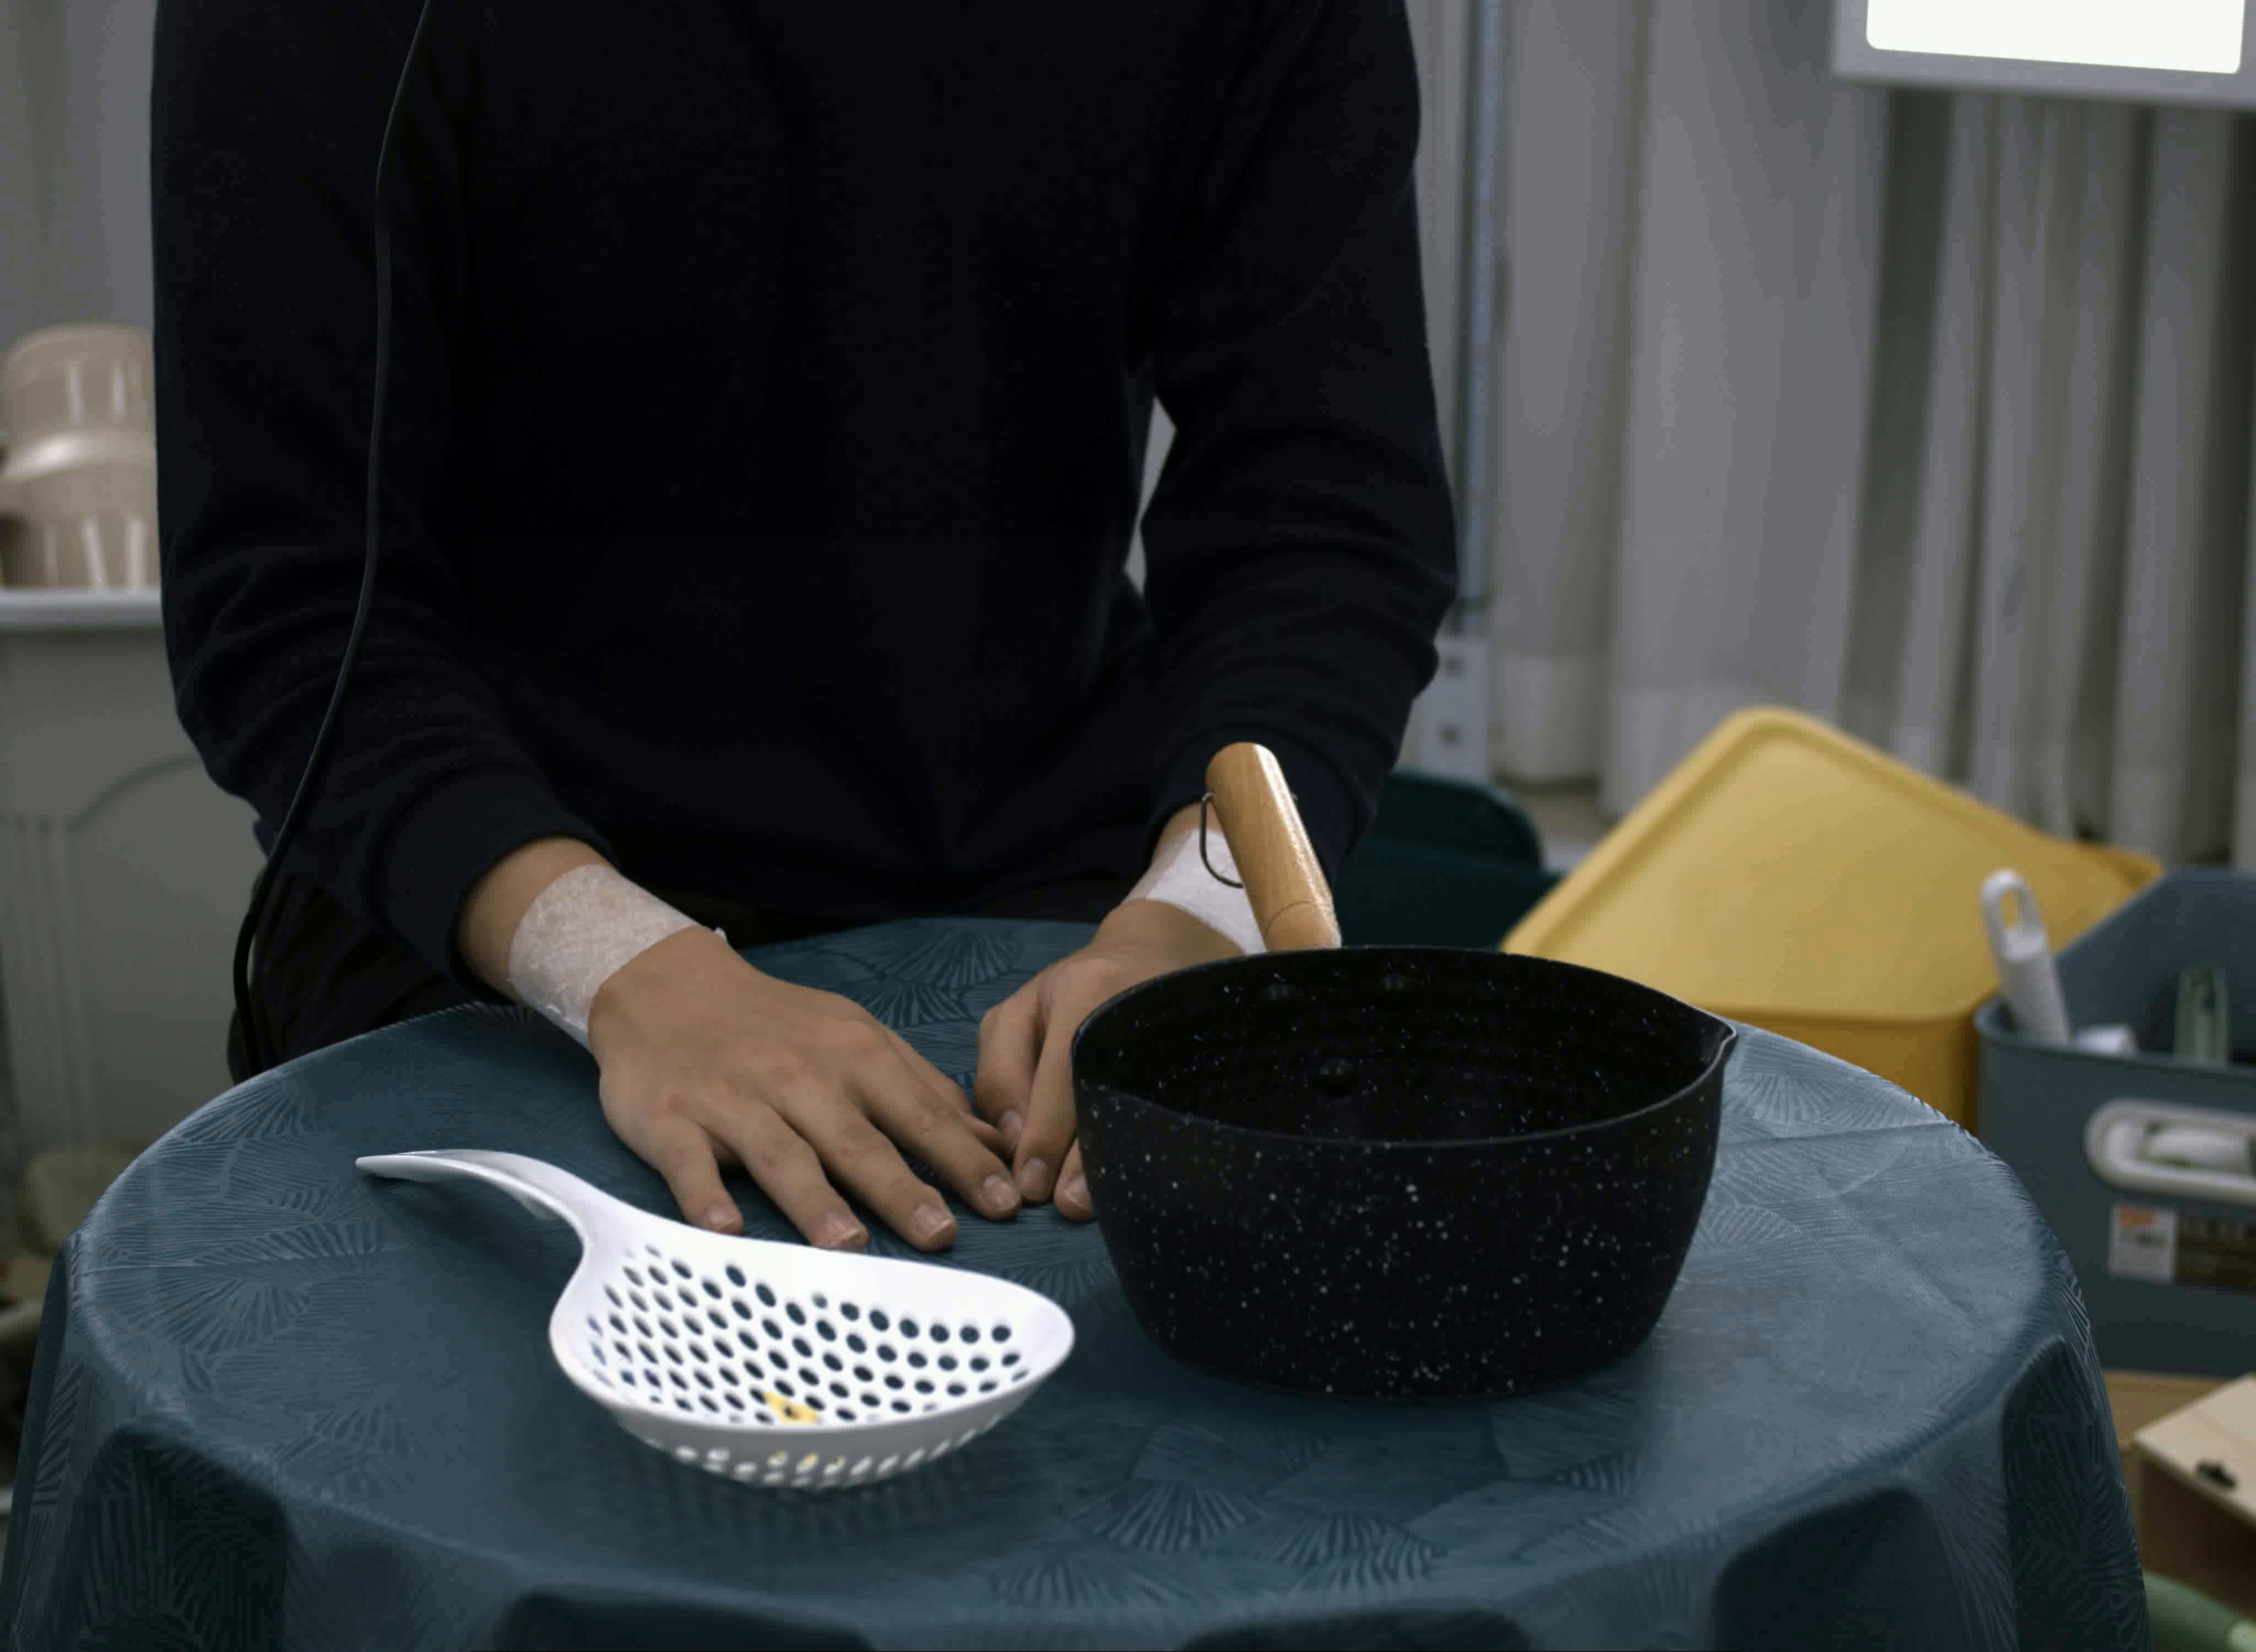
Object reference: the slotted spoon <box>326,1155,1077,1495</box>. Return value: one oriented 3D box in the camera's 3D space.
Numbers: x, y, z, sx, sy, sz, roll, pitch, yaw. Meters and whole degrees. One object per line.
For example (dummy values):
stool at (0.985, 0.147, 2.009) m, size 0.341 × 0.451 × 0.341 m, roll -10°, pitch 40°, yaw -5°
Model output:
slotted spoon at (-0.142, 0.126, 1.488) m, size 0.137 × 0.051 × 0.343 m, roll -11°, pitch 21°, yaw -31°

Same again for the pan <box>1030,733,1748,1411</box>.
pan at (0.063, 0.068, 1.582) m, size 0.207 × 0.109 × 0.340 m, roll -4°, pitch 17°, yaw -10°
